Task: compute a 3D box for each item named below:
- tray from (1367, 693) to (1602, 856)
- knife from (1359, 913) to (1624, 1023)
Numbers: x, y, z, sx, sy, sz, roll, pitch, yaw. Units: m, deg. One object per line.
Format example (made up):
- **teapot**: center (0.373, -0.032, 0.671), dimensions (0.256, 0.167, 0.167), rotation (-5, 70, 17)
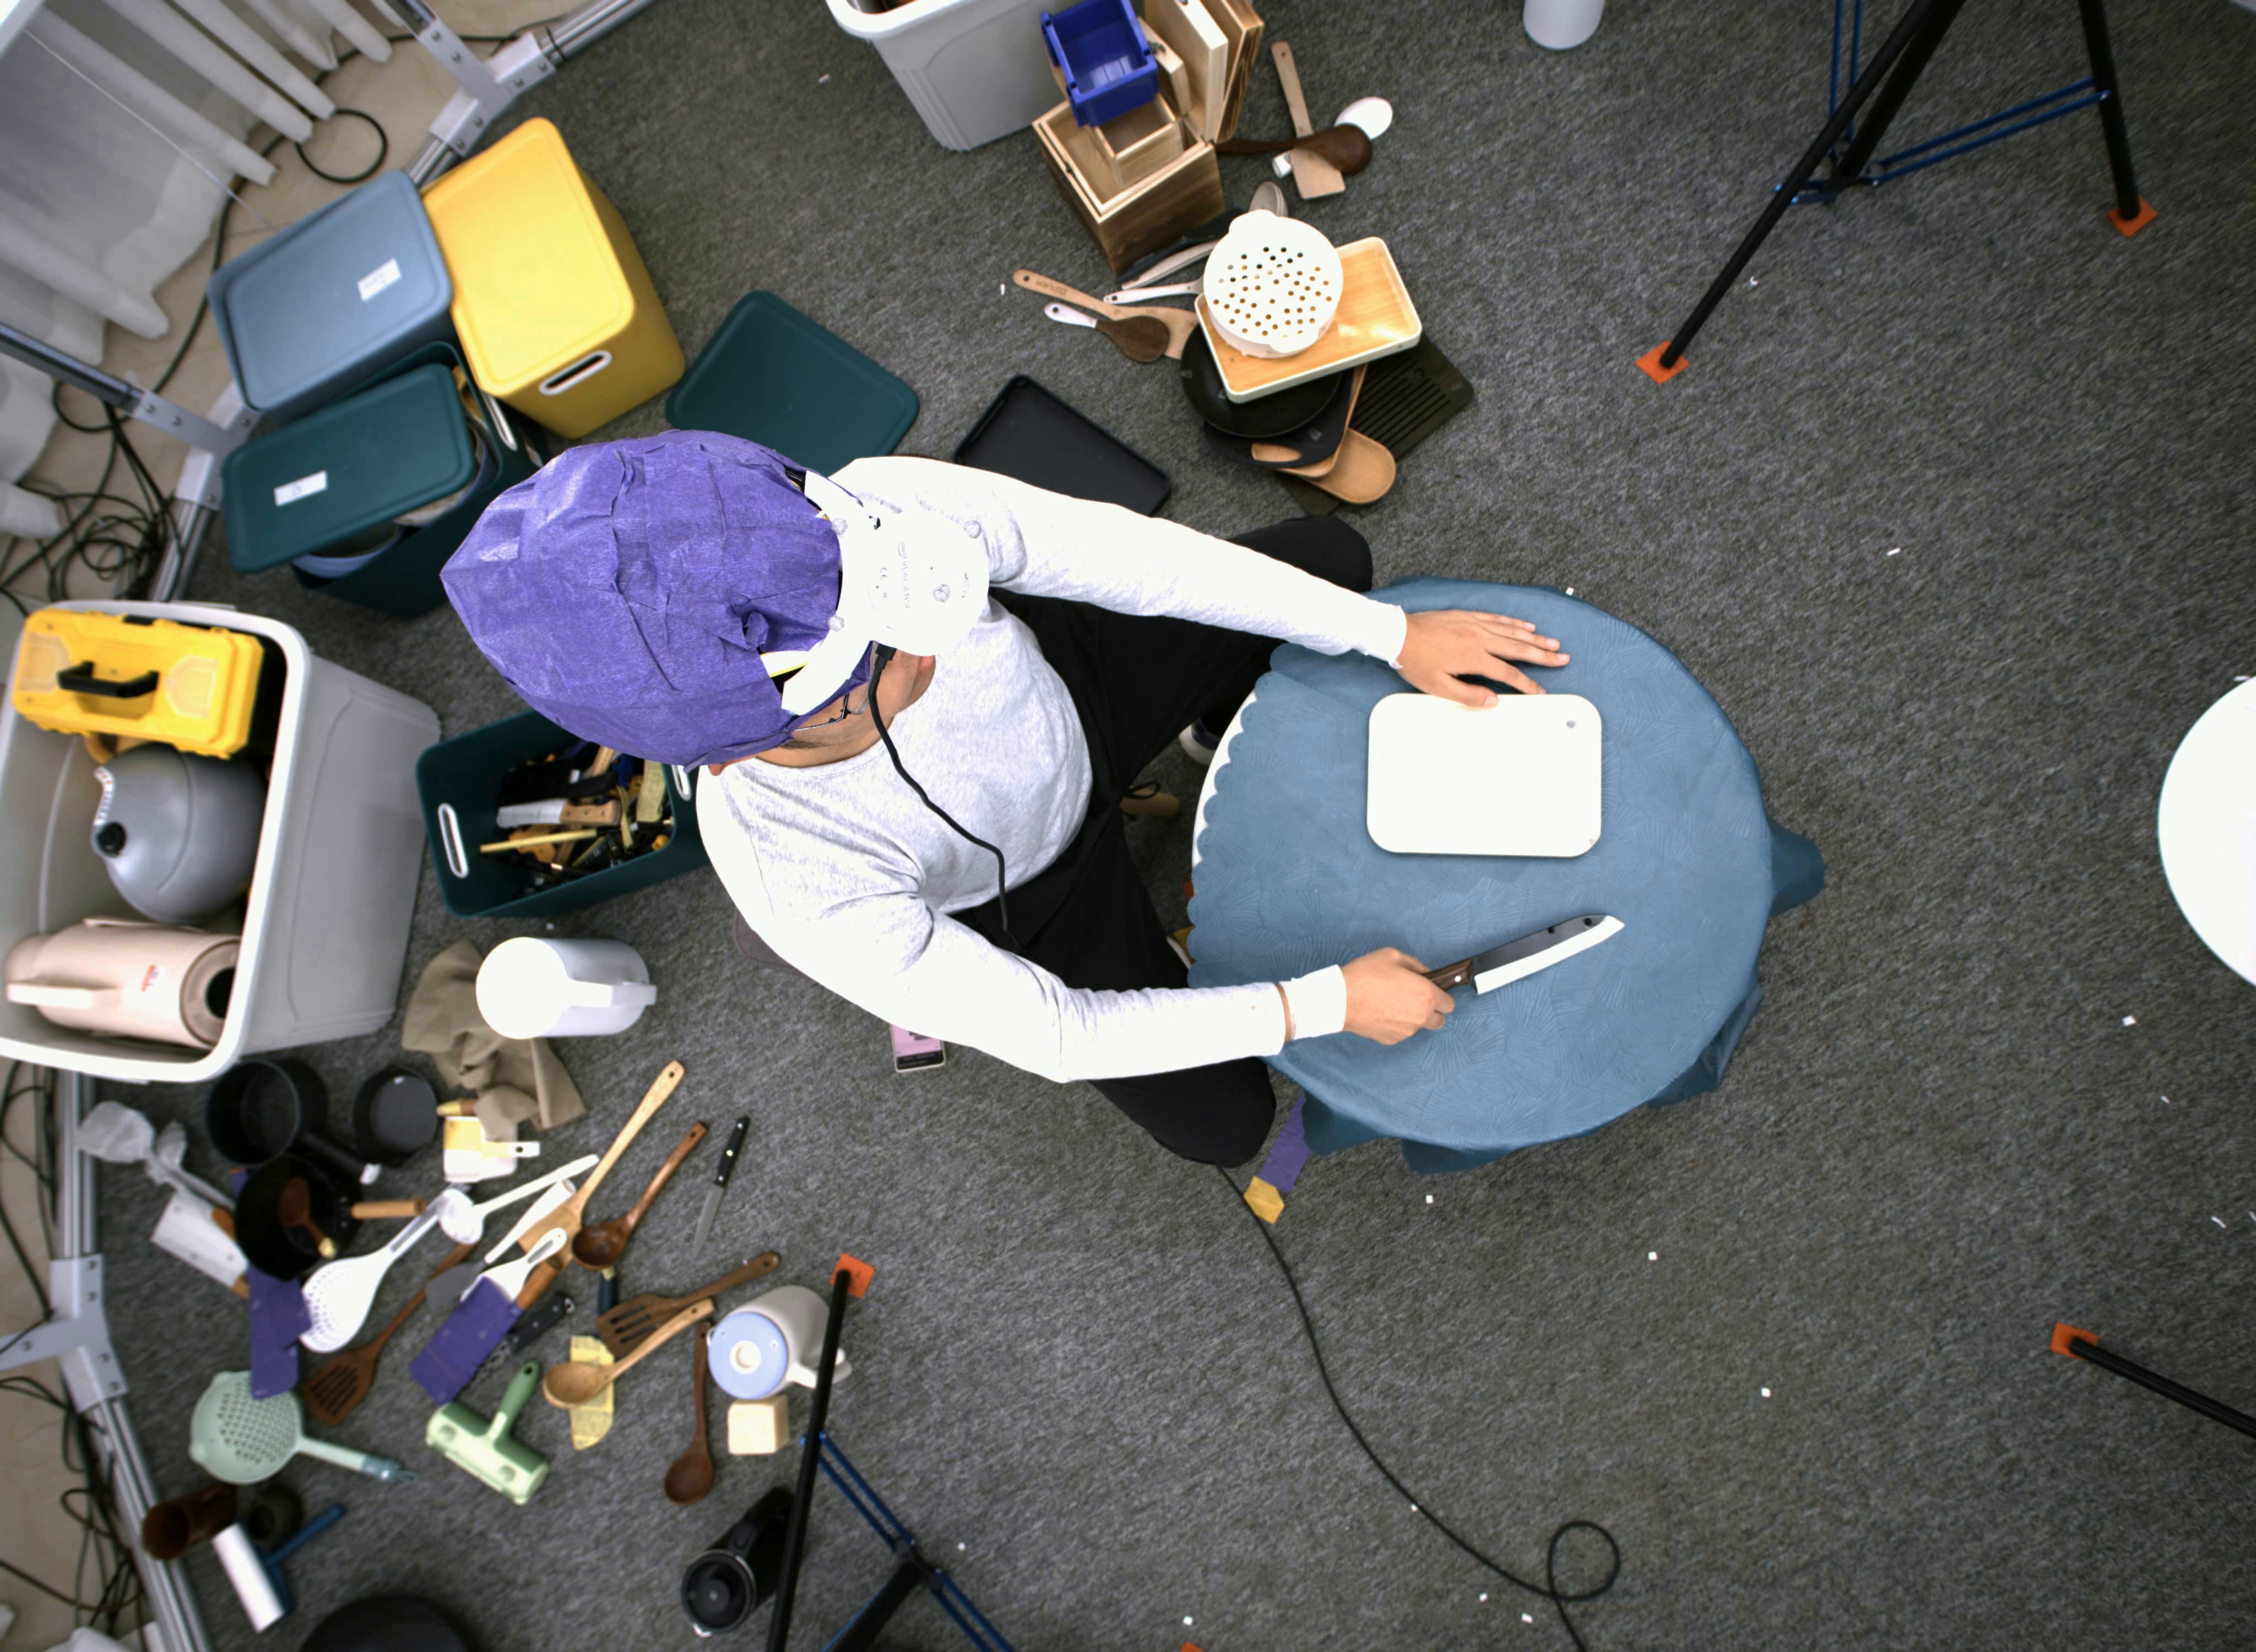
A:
- **tray**: center (0.373, -0.056, 1.439), dimensions (0.240, 0.017, 0.170), rotation (2, 87, 11)
- **knife**: center (0.374, 0.142, 1.410), dimensions (0.289, 0.019, 0.051), rotation (-19, 118, 0)
